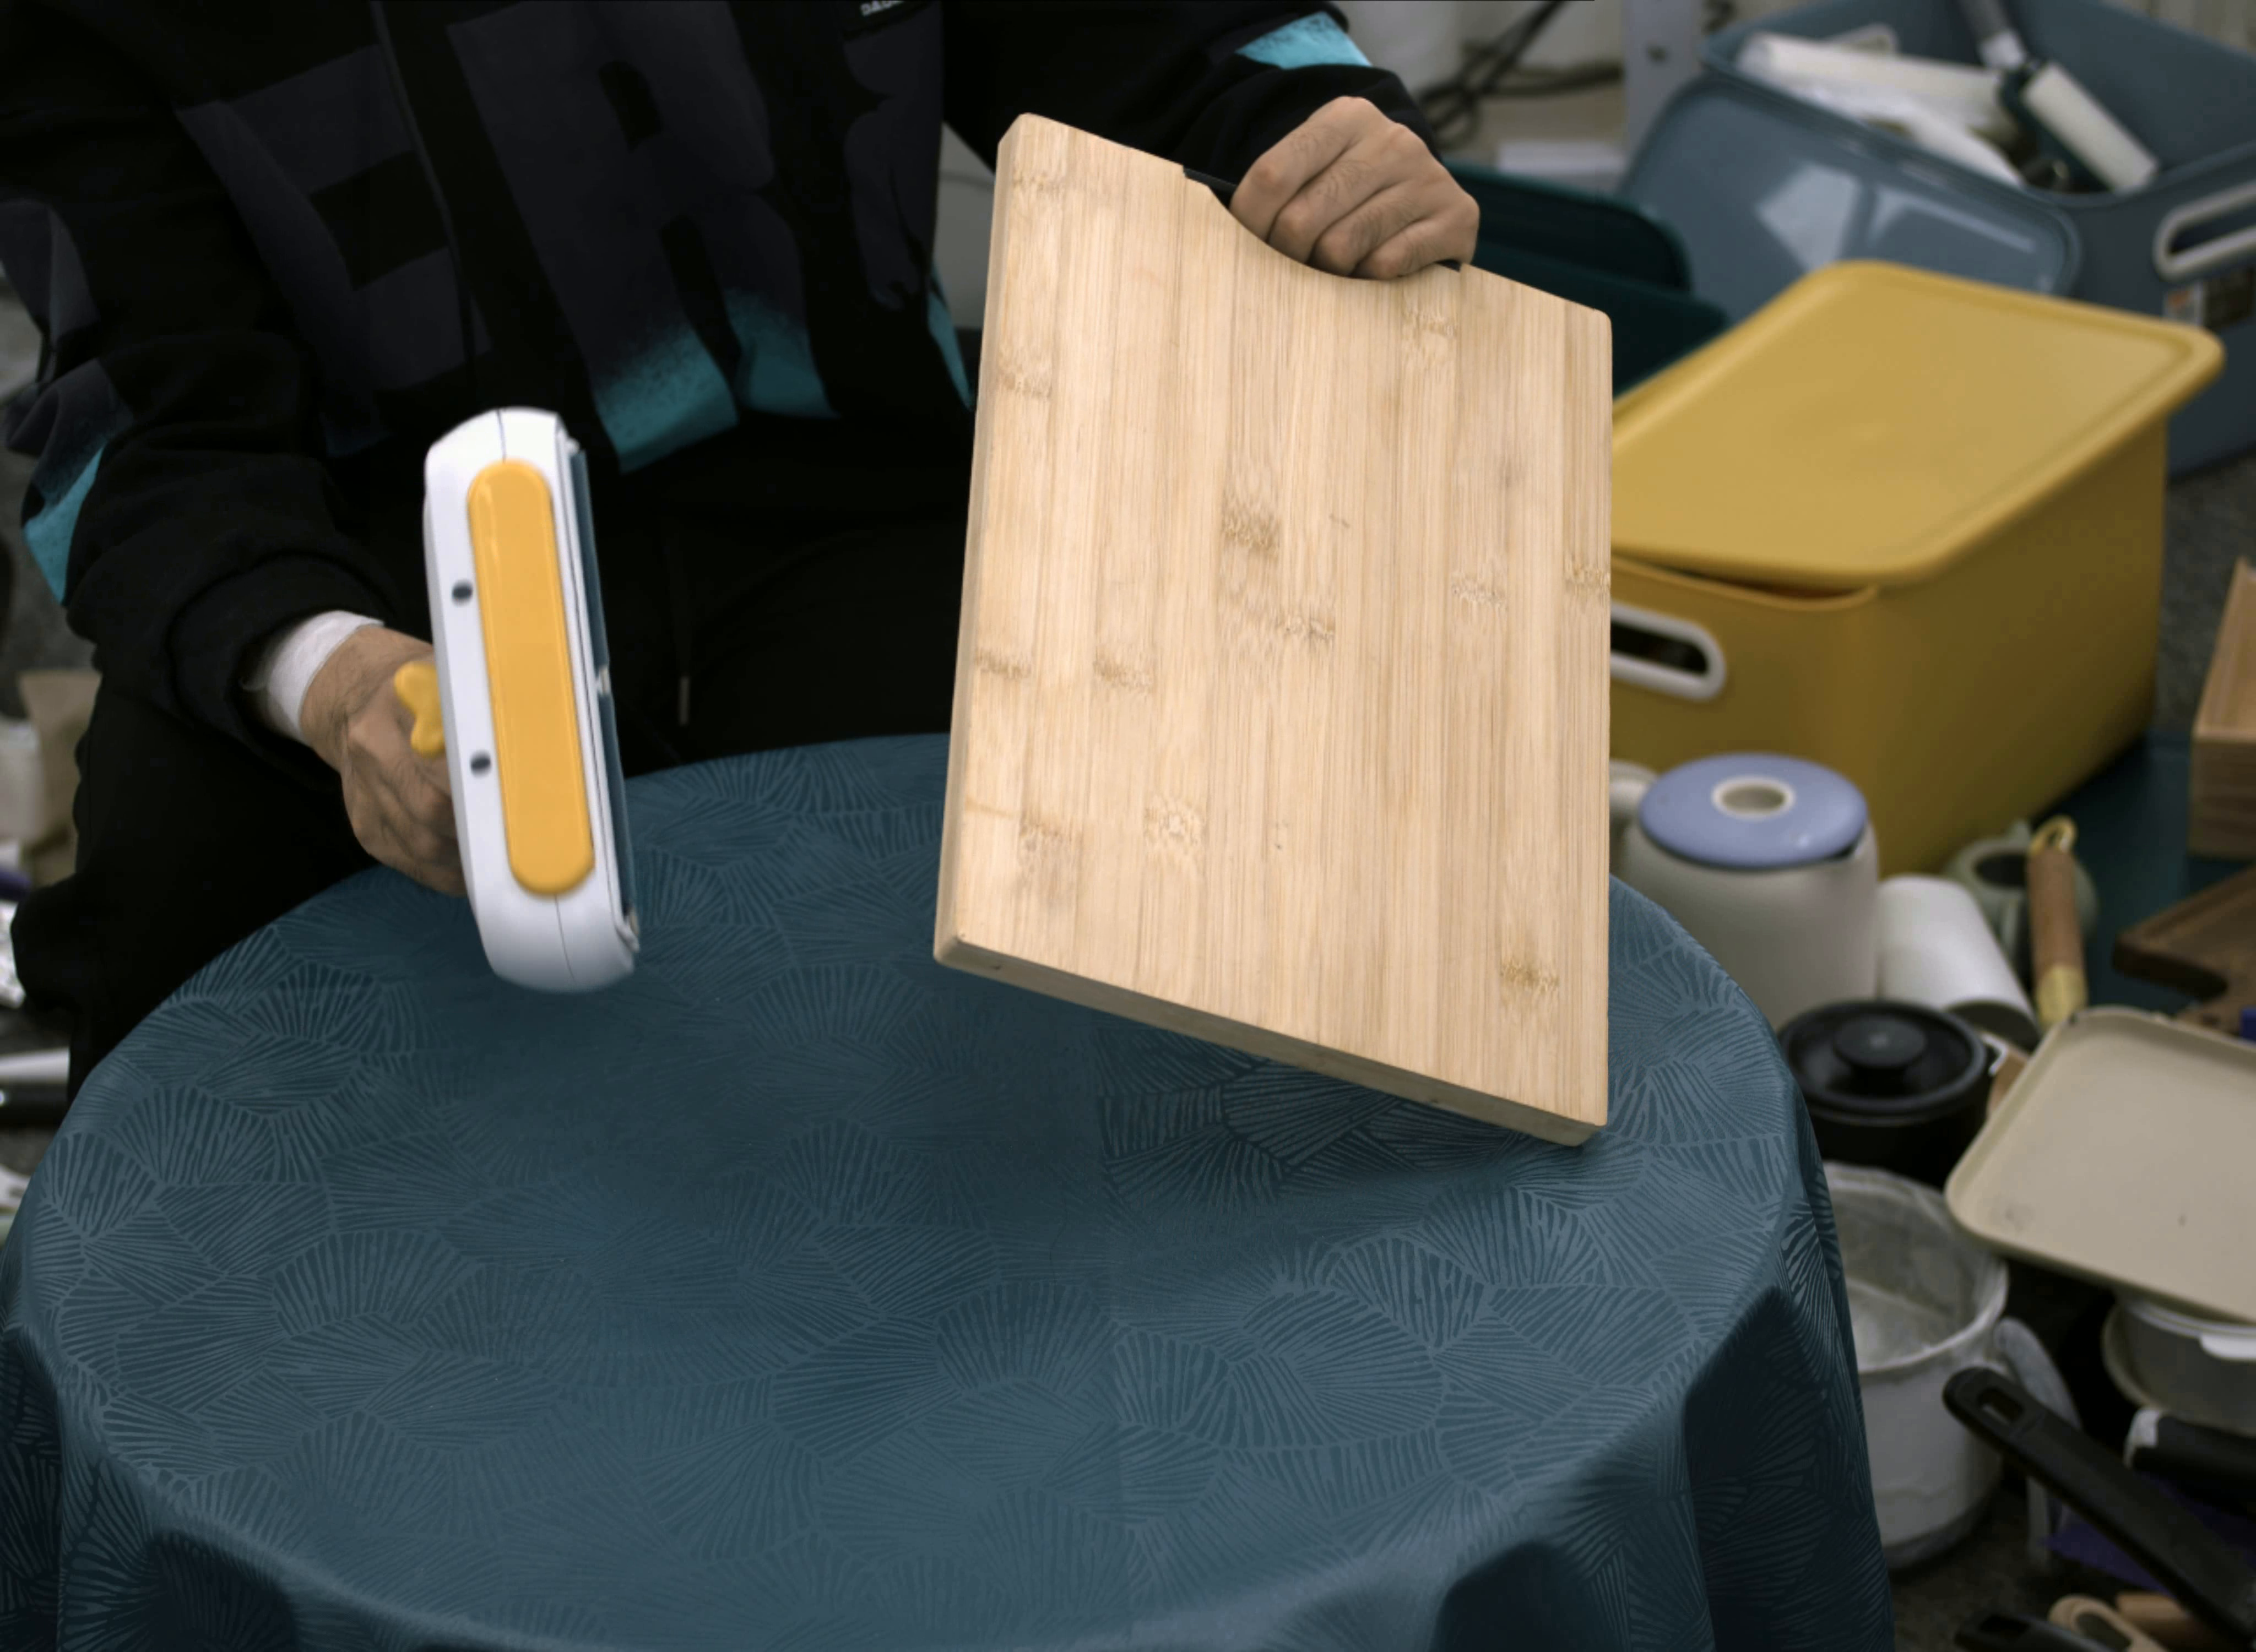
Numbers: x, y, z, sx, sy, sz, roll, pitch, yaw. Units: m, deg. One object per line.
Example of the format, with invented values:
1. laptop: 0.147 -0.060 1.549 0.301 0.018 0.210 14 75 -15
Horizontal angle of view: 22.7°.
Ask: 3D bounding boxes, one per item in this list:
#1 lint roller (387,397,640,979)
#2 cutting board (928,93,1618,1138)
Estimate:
1. lint roller: -0.208 -0.028 1.888 0.074 0.195 0.190 -12 -15 -9
2. cutting board: 0.057 -0.076 1.926 0.250 0.023 0.355 17 54 -21
